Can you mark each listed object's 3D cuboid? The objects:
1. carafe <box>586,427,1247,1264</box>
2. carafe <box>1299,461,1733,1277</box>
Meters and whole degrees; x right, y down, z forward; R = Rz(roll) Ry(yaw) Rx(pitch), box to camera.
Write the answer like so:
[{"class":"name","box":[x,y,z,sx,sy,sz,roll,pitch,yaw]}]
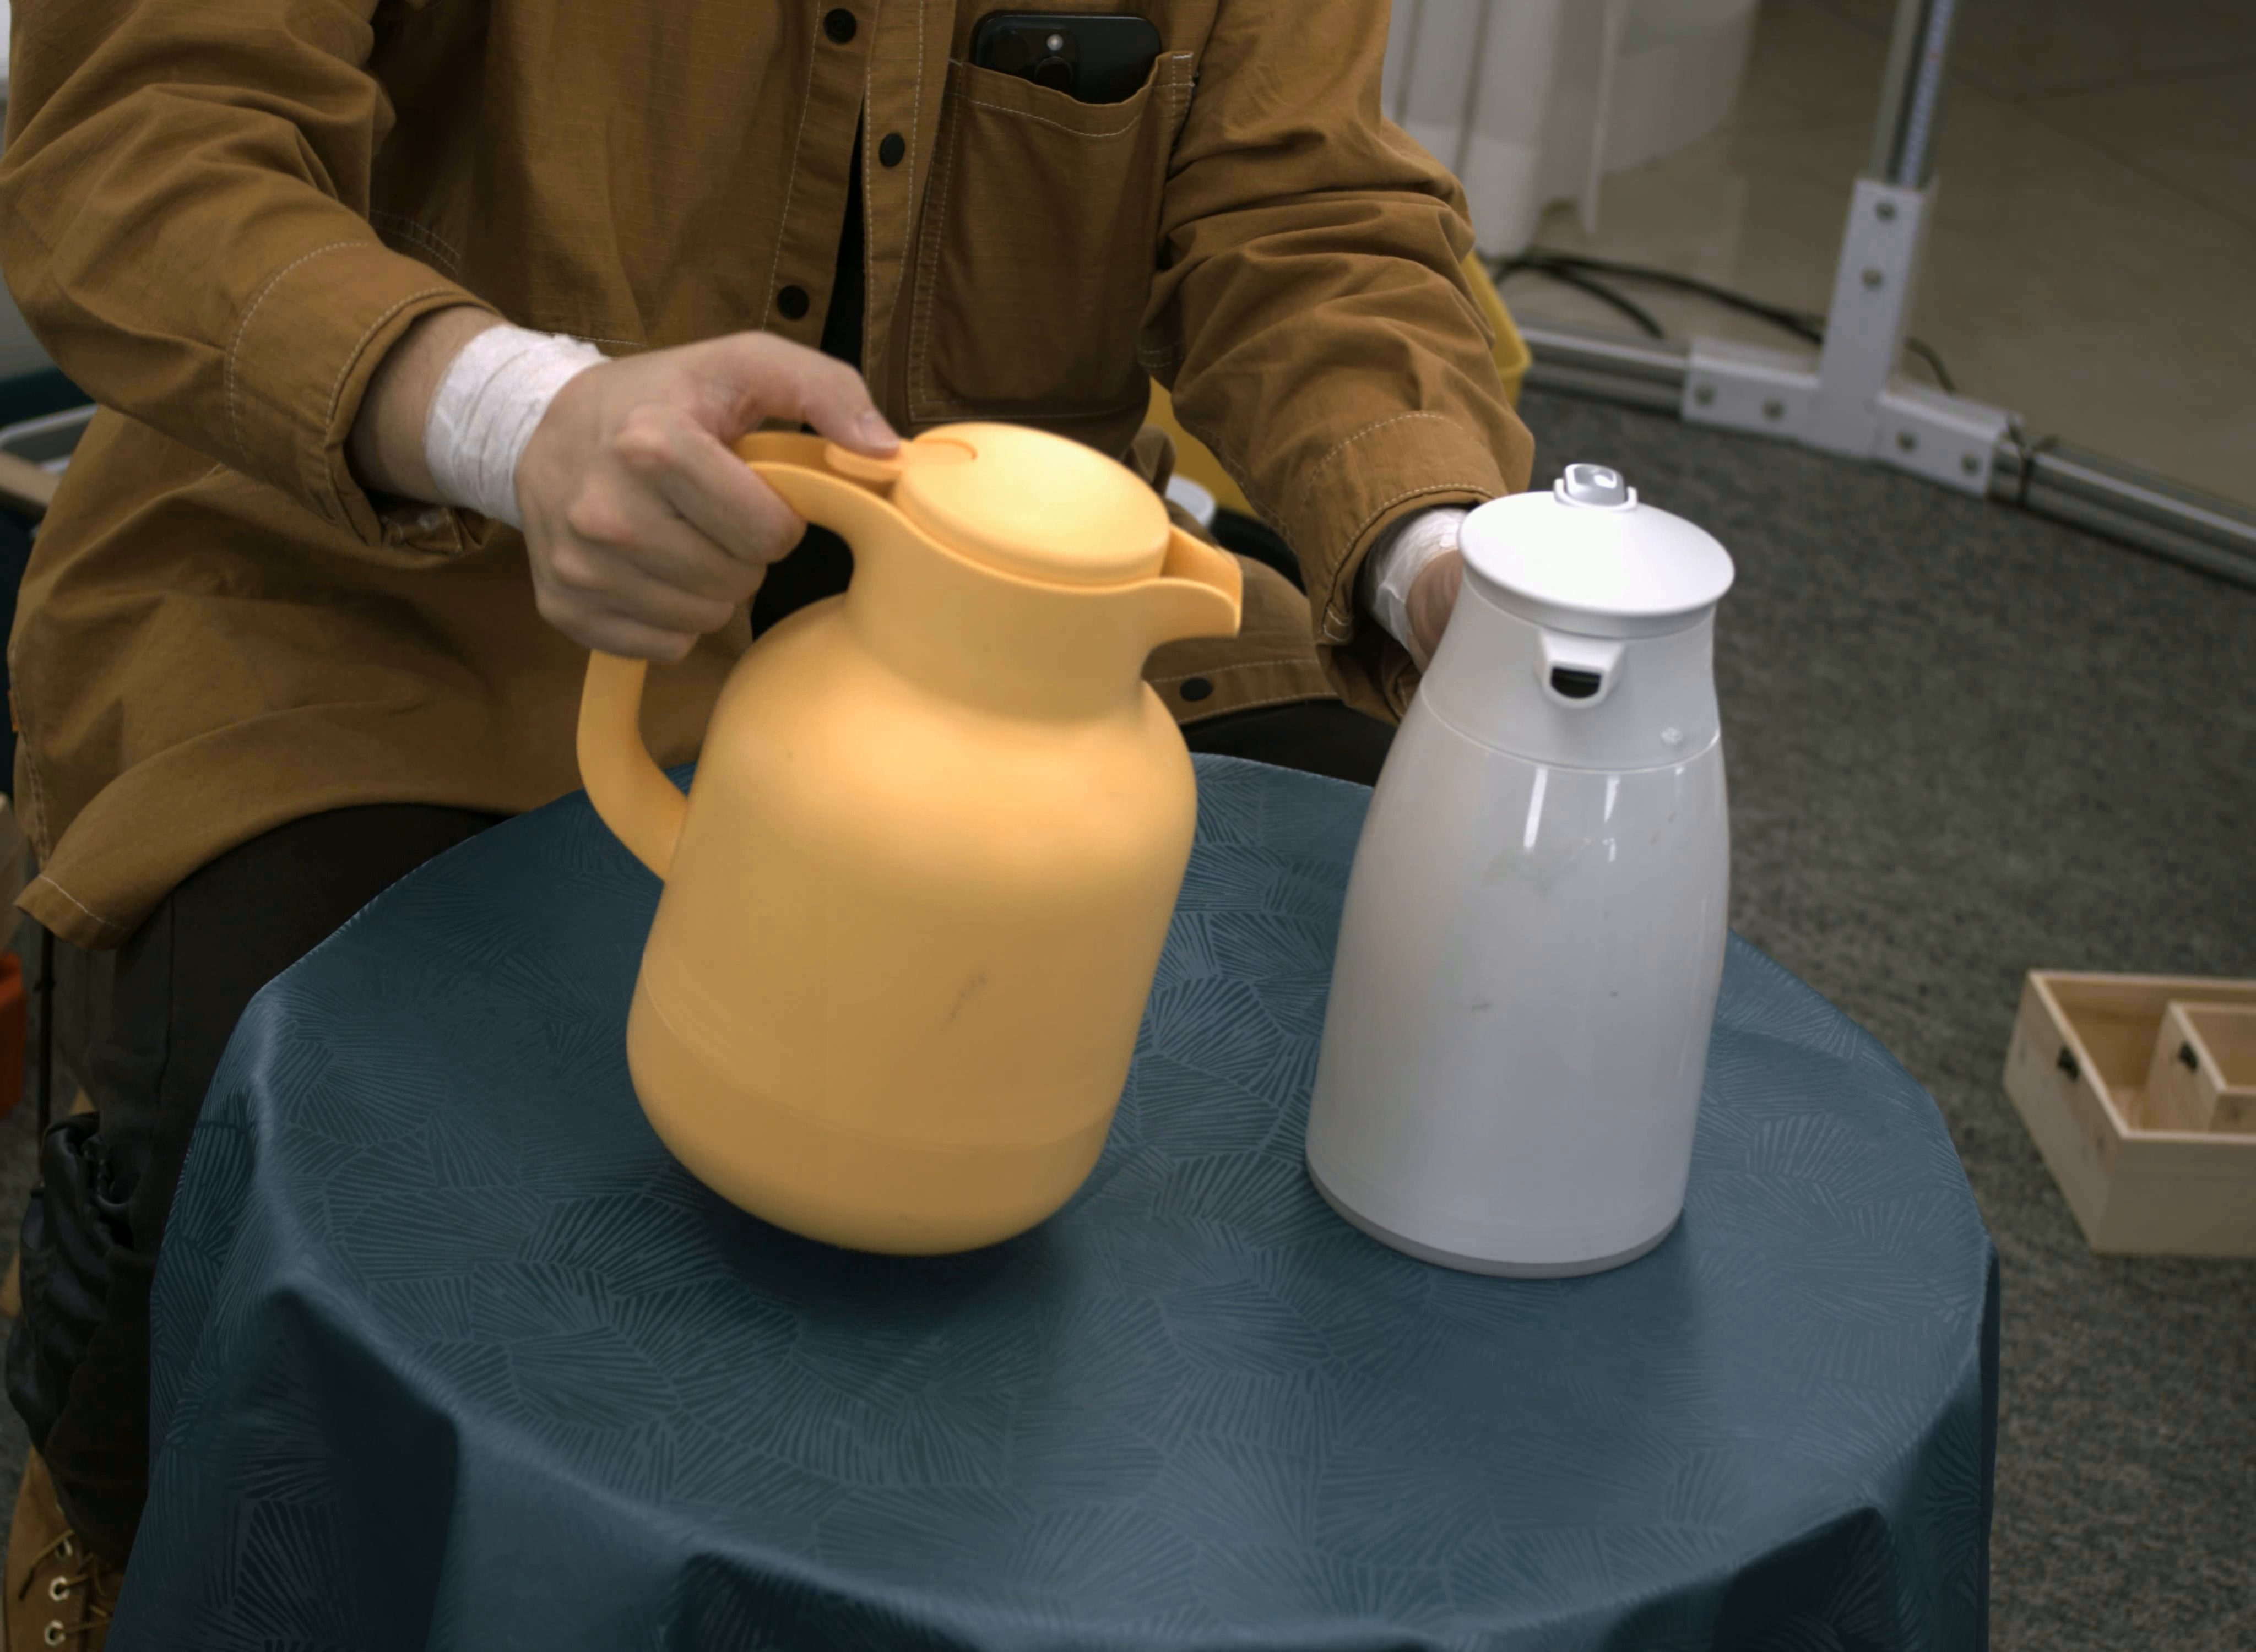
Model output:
[{"class":"carafe","box":[-0.077,-0.005,1.713,0.202,0.260,0.164,17,26,0]},{"class":"carafe","box":[0.139,0.003,1.800,0.132,0.248,0.168,9,26,3]}]
